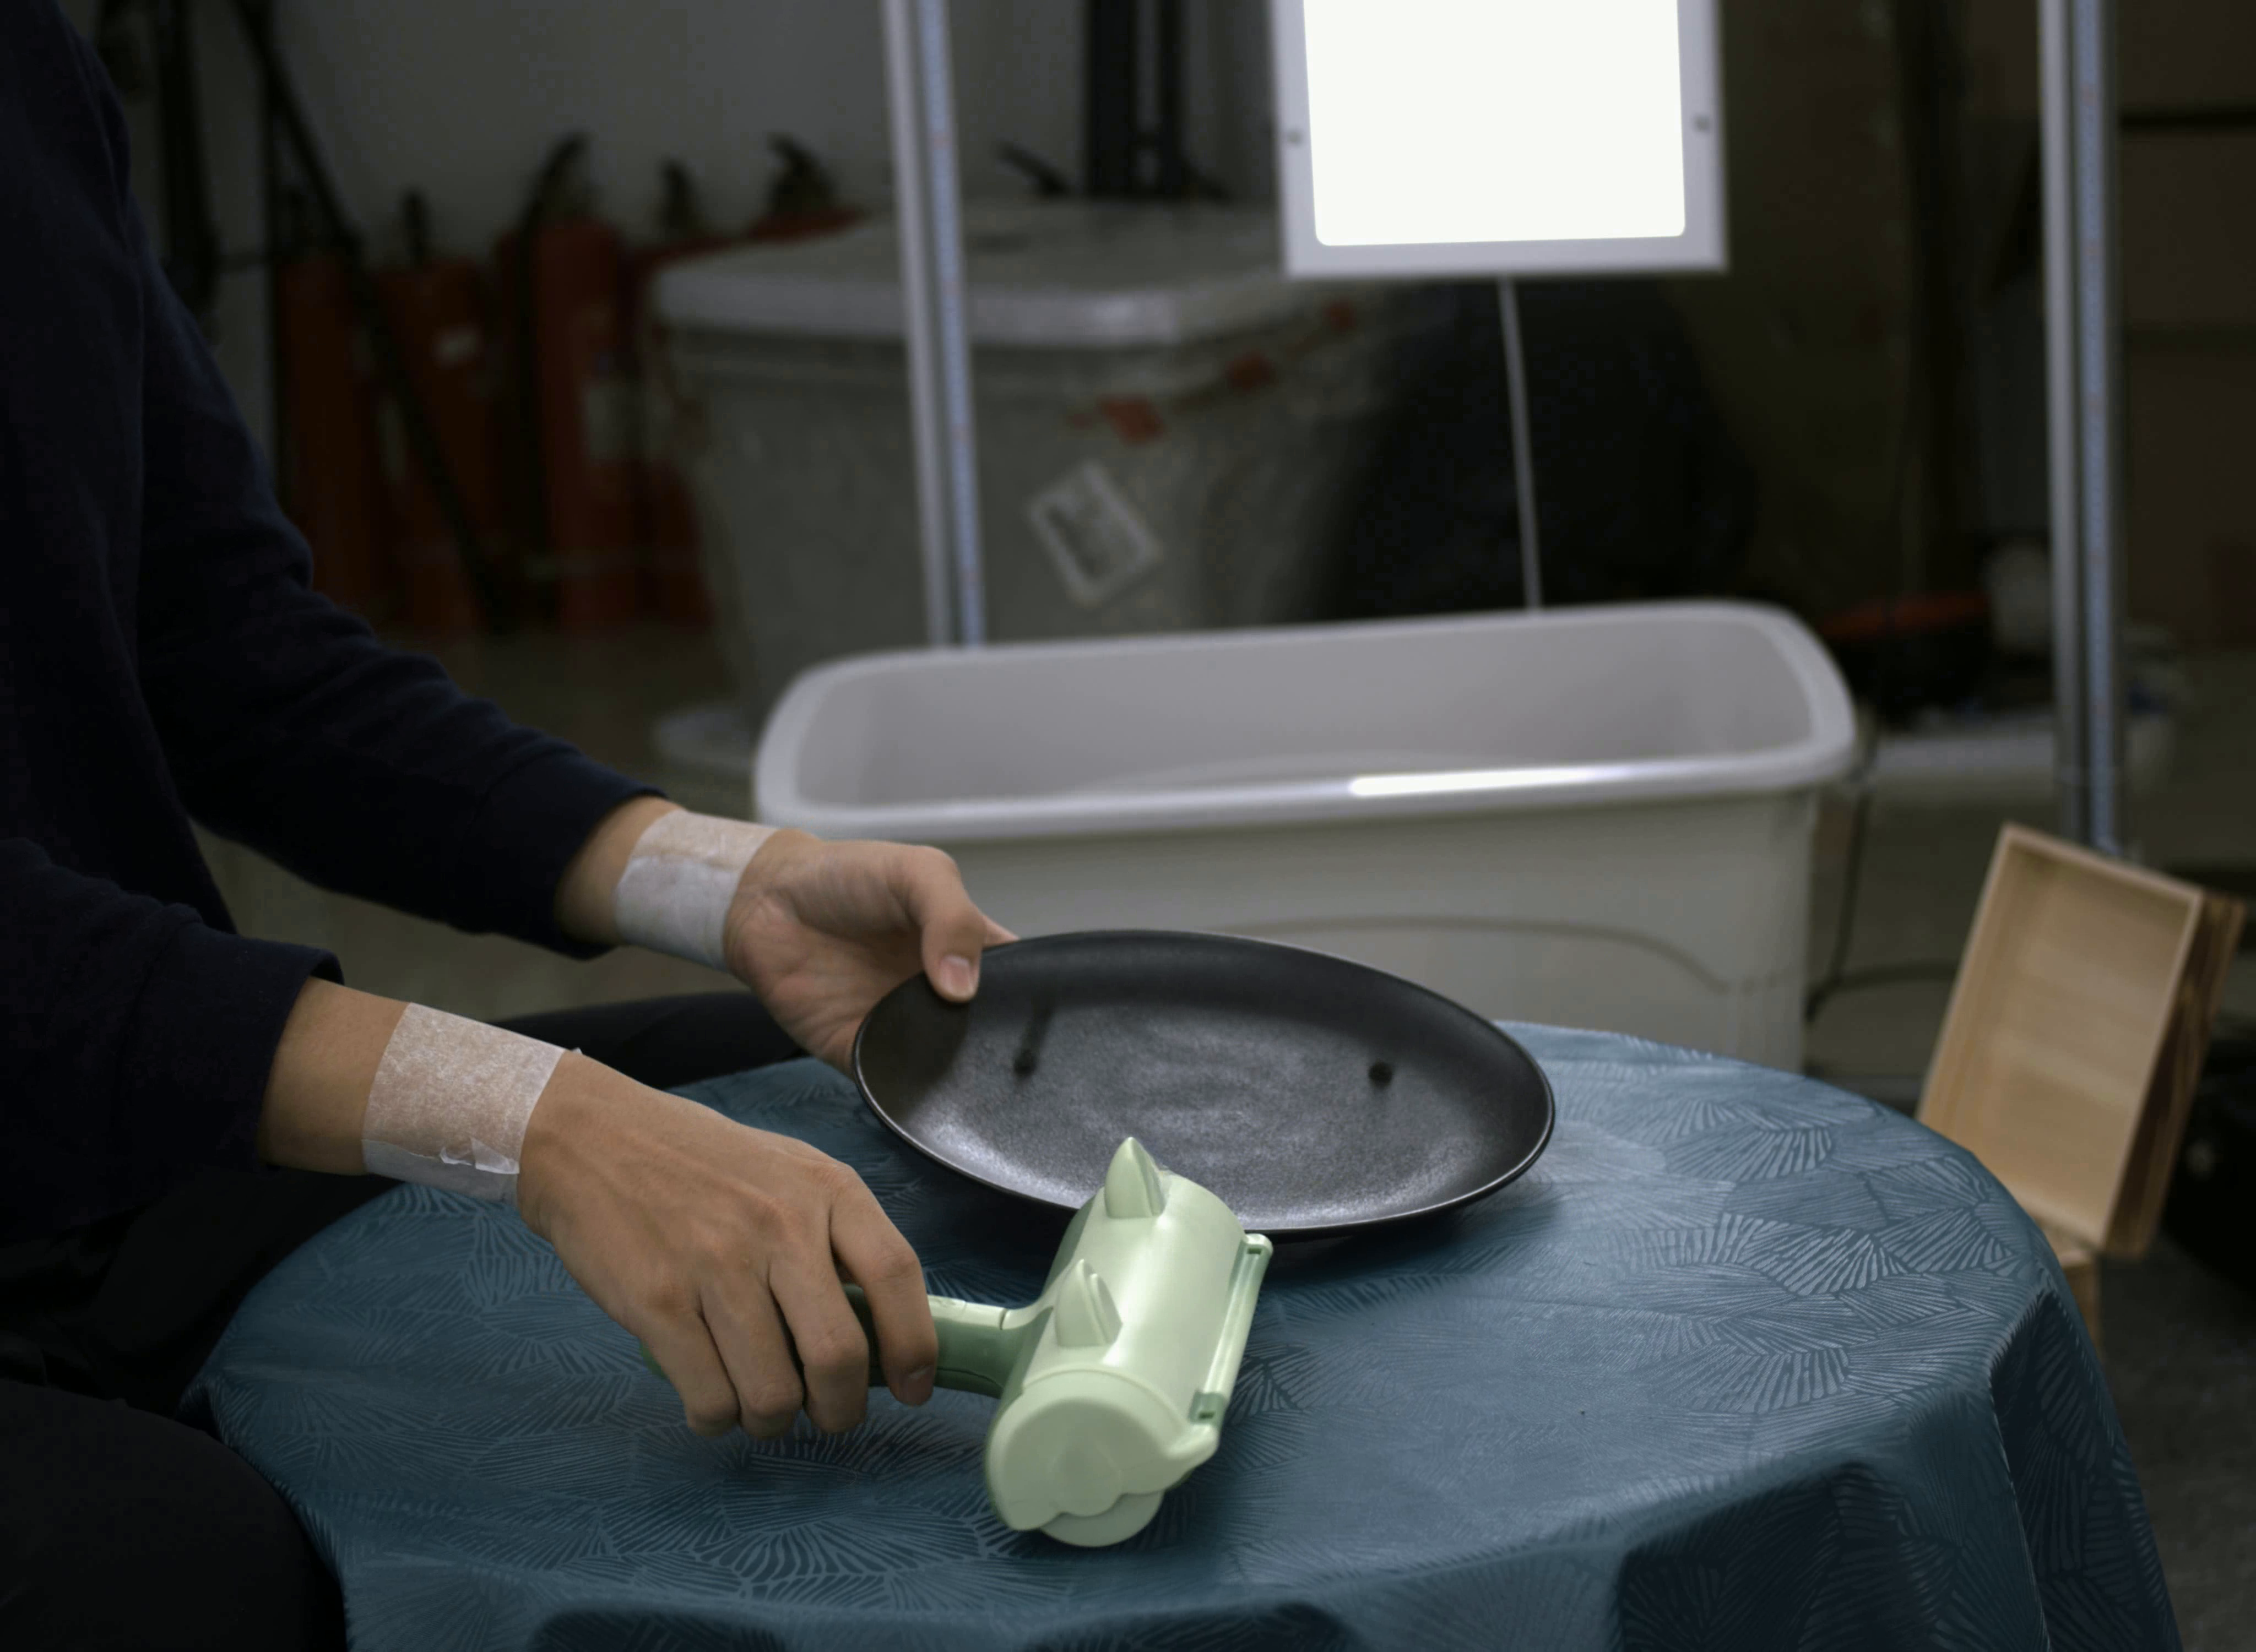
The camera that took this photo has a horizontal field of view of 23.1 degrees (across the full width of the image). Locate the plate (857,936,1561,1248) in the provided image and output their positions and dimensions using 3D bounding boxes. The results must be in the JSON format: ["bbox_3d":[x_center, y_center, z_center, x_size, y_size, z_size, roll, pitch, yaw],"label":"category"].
[{"bbox_3d":[0.027,0.094,1.894,0.243,0.023,0.244,2,22,-2],"label":"plate"}]

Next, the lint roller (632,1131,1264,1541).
[{"bbox_3d":[-0.055,0.139,1.656,0.183,0.083,0.197,11,15,4],"label":"lint roller"}]
